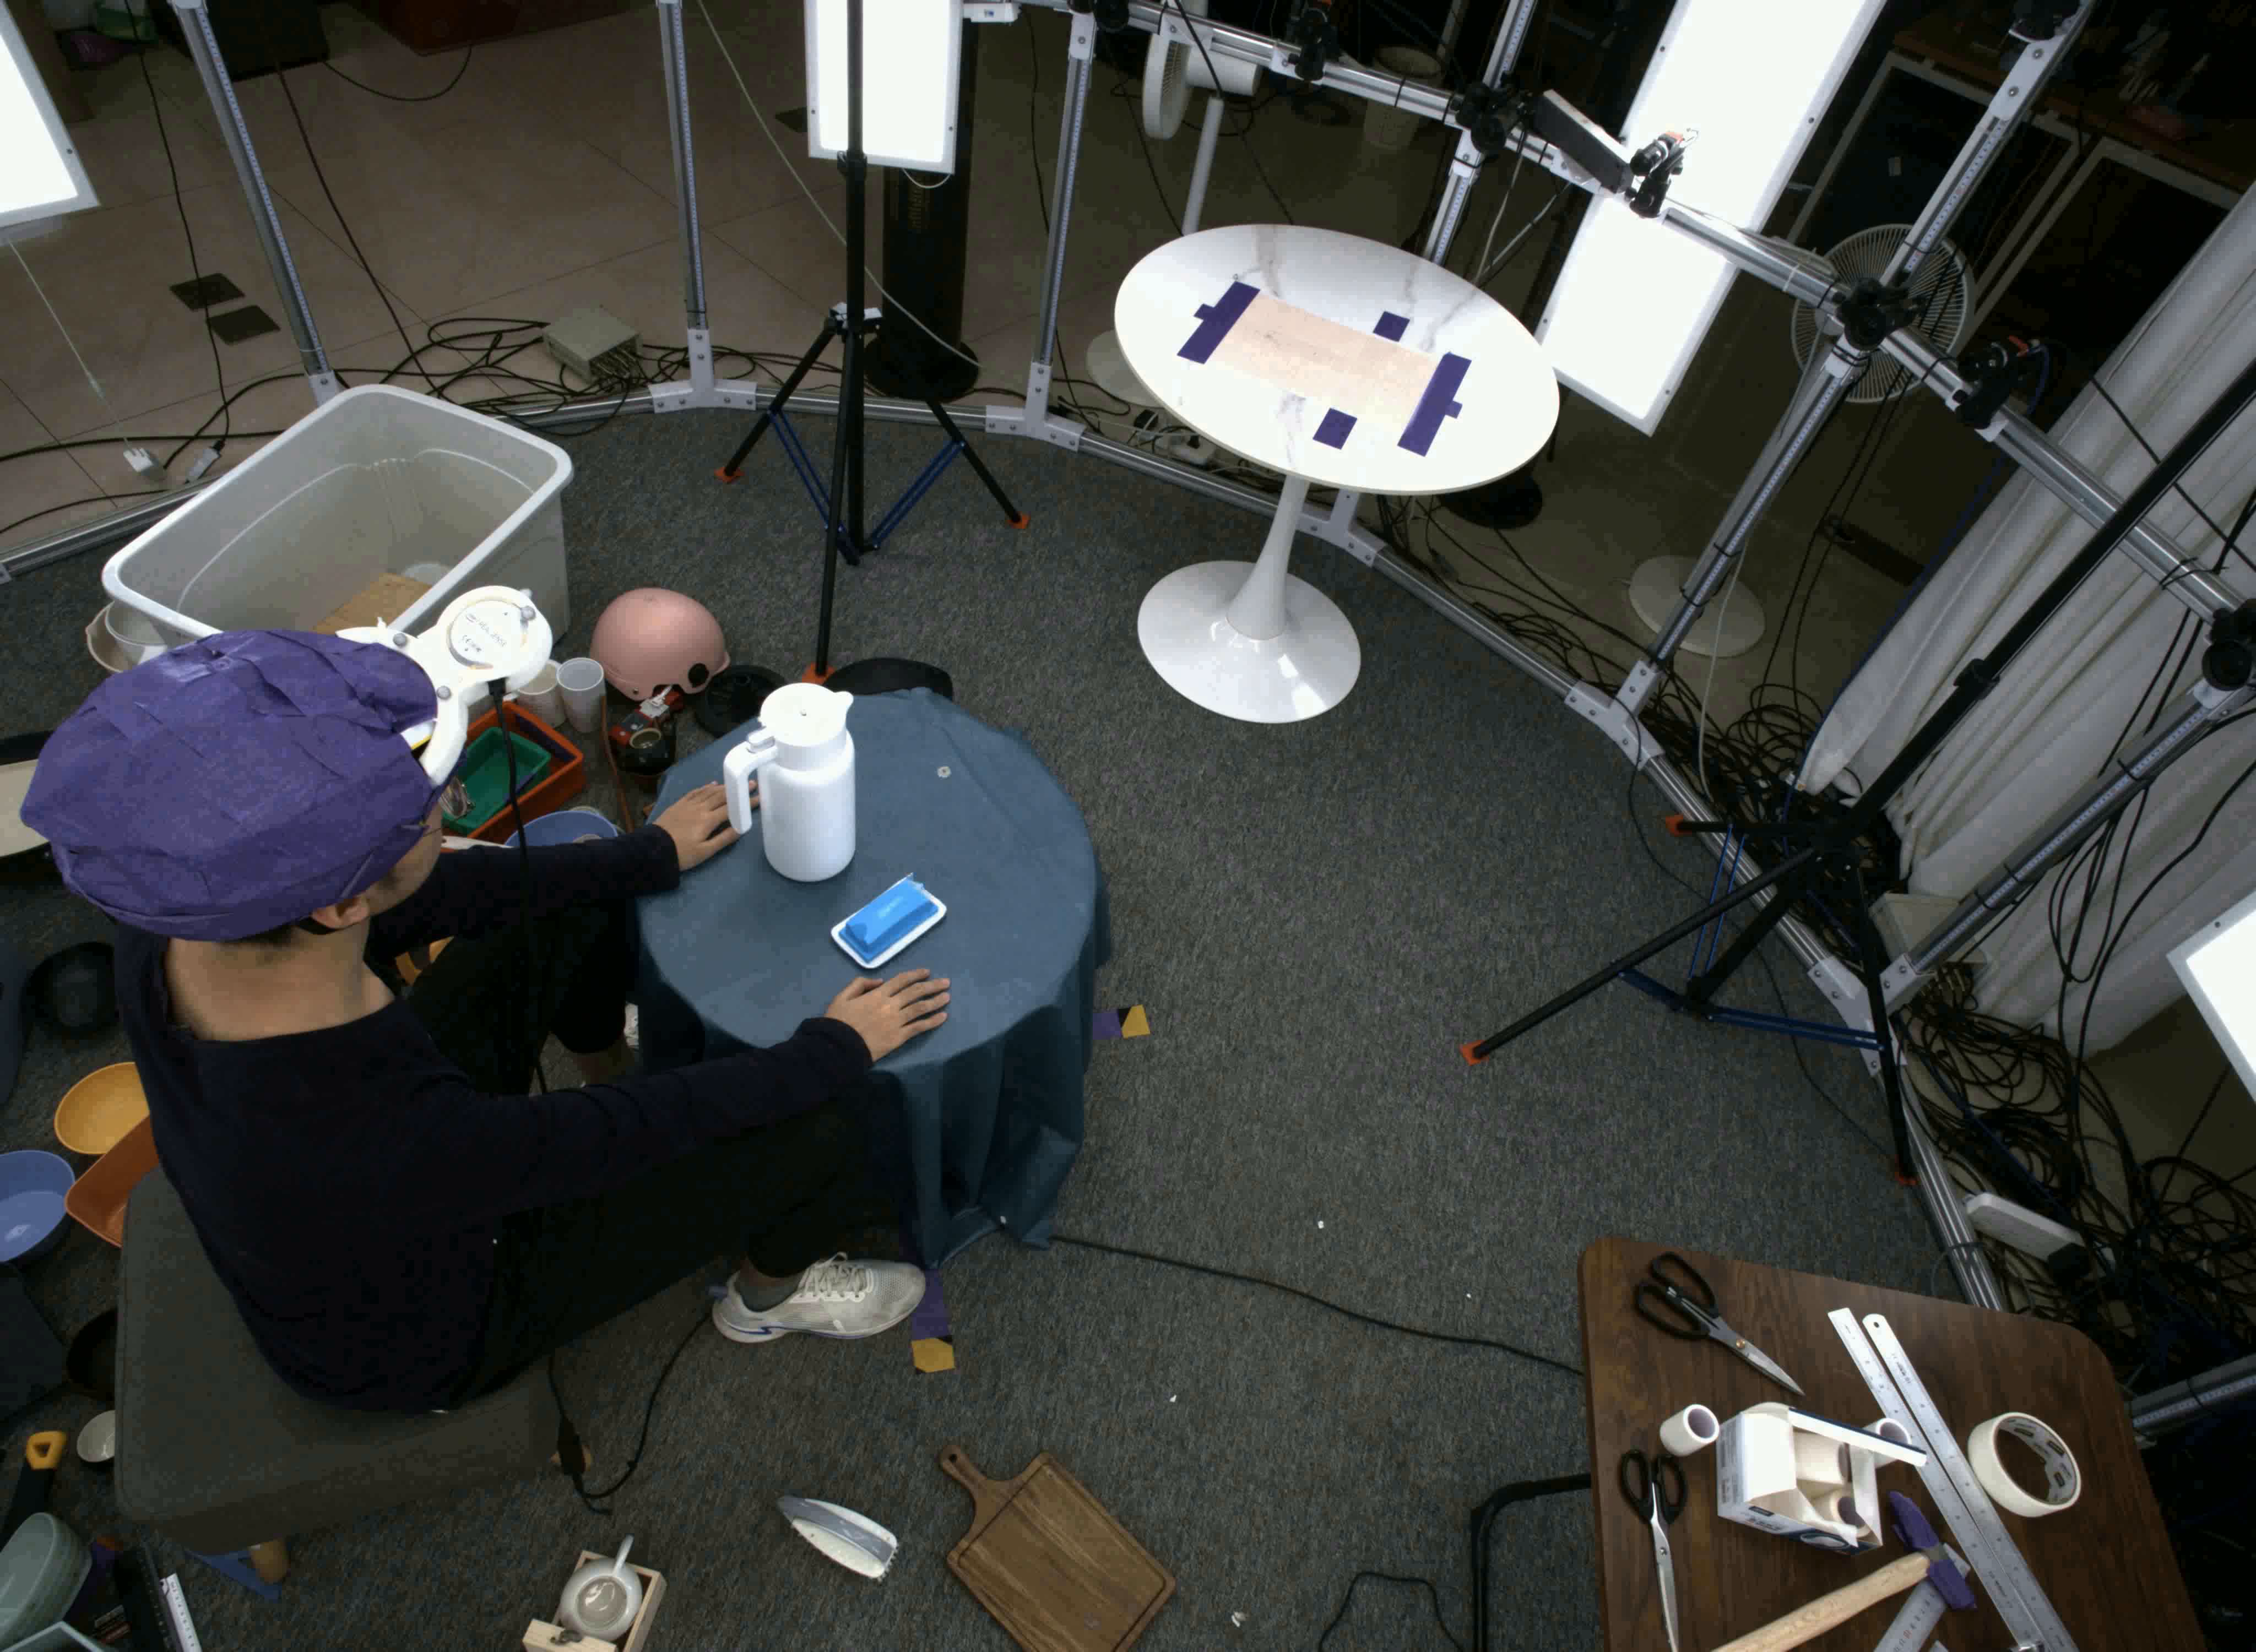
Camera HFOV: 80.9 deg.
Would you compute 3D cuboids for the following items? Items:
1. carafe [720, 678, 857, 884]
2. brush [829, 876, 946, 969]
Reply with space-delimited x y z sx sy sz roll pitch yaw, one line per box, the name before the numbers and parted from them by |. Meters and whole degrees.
carafe | -0.409 -0.044 1.590 0.121 0.274 0.173 42 57 19
brush | -0.302 0.112 1.632 0.082 0.057 0.144 40 51 21
